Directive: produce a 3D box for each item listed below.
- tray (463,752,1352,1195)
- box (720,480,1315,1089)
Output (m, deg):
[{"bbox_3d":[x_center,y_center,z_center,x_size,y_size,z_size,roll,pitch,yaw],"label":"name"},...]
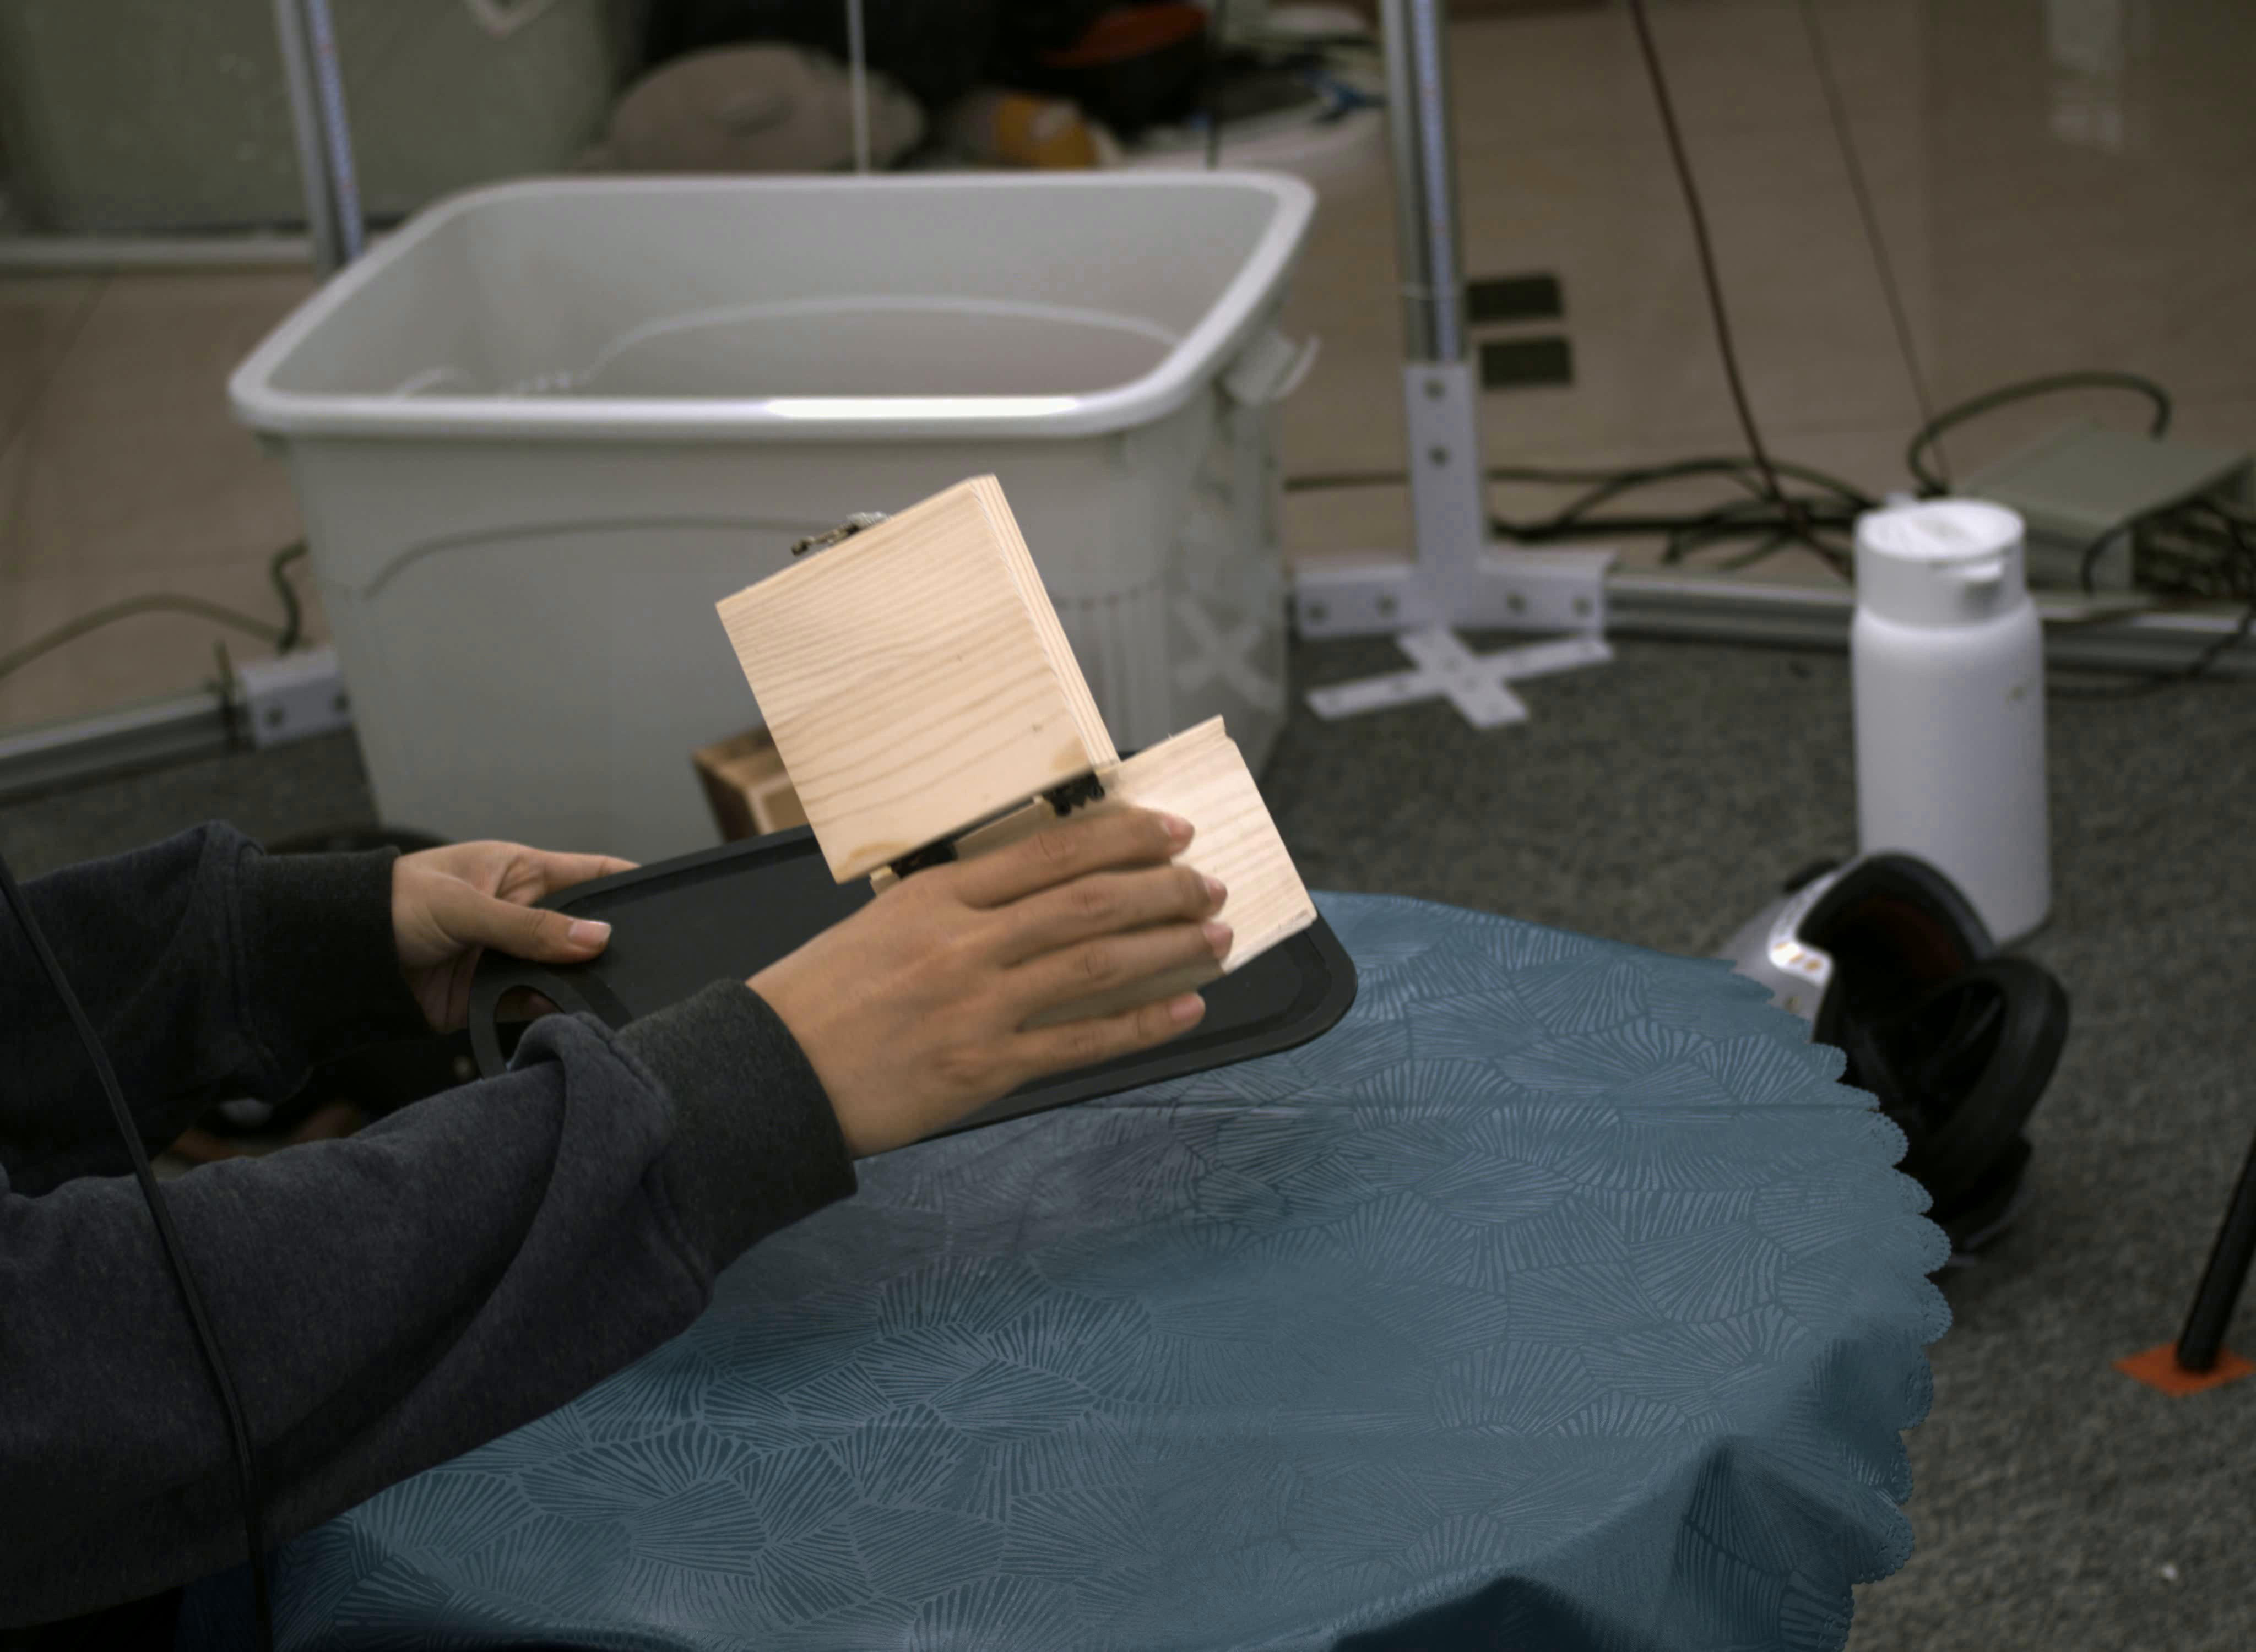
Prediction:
[{"bbox_3d":[-0.089,0.053,2.147,0.324,0.010,0.207,-13,37,-14],"label":"tray"},{"bbox_3d":[-0.035,-0.022,1.889,0.103,0.185,0.133,-22,4,22],"label":"box"}]
